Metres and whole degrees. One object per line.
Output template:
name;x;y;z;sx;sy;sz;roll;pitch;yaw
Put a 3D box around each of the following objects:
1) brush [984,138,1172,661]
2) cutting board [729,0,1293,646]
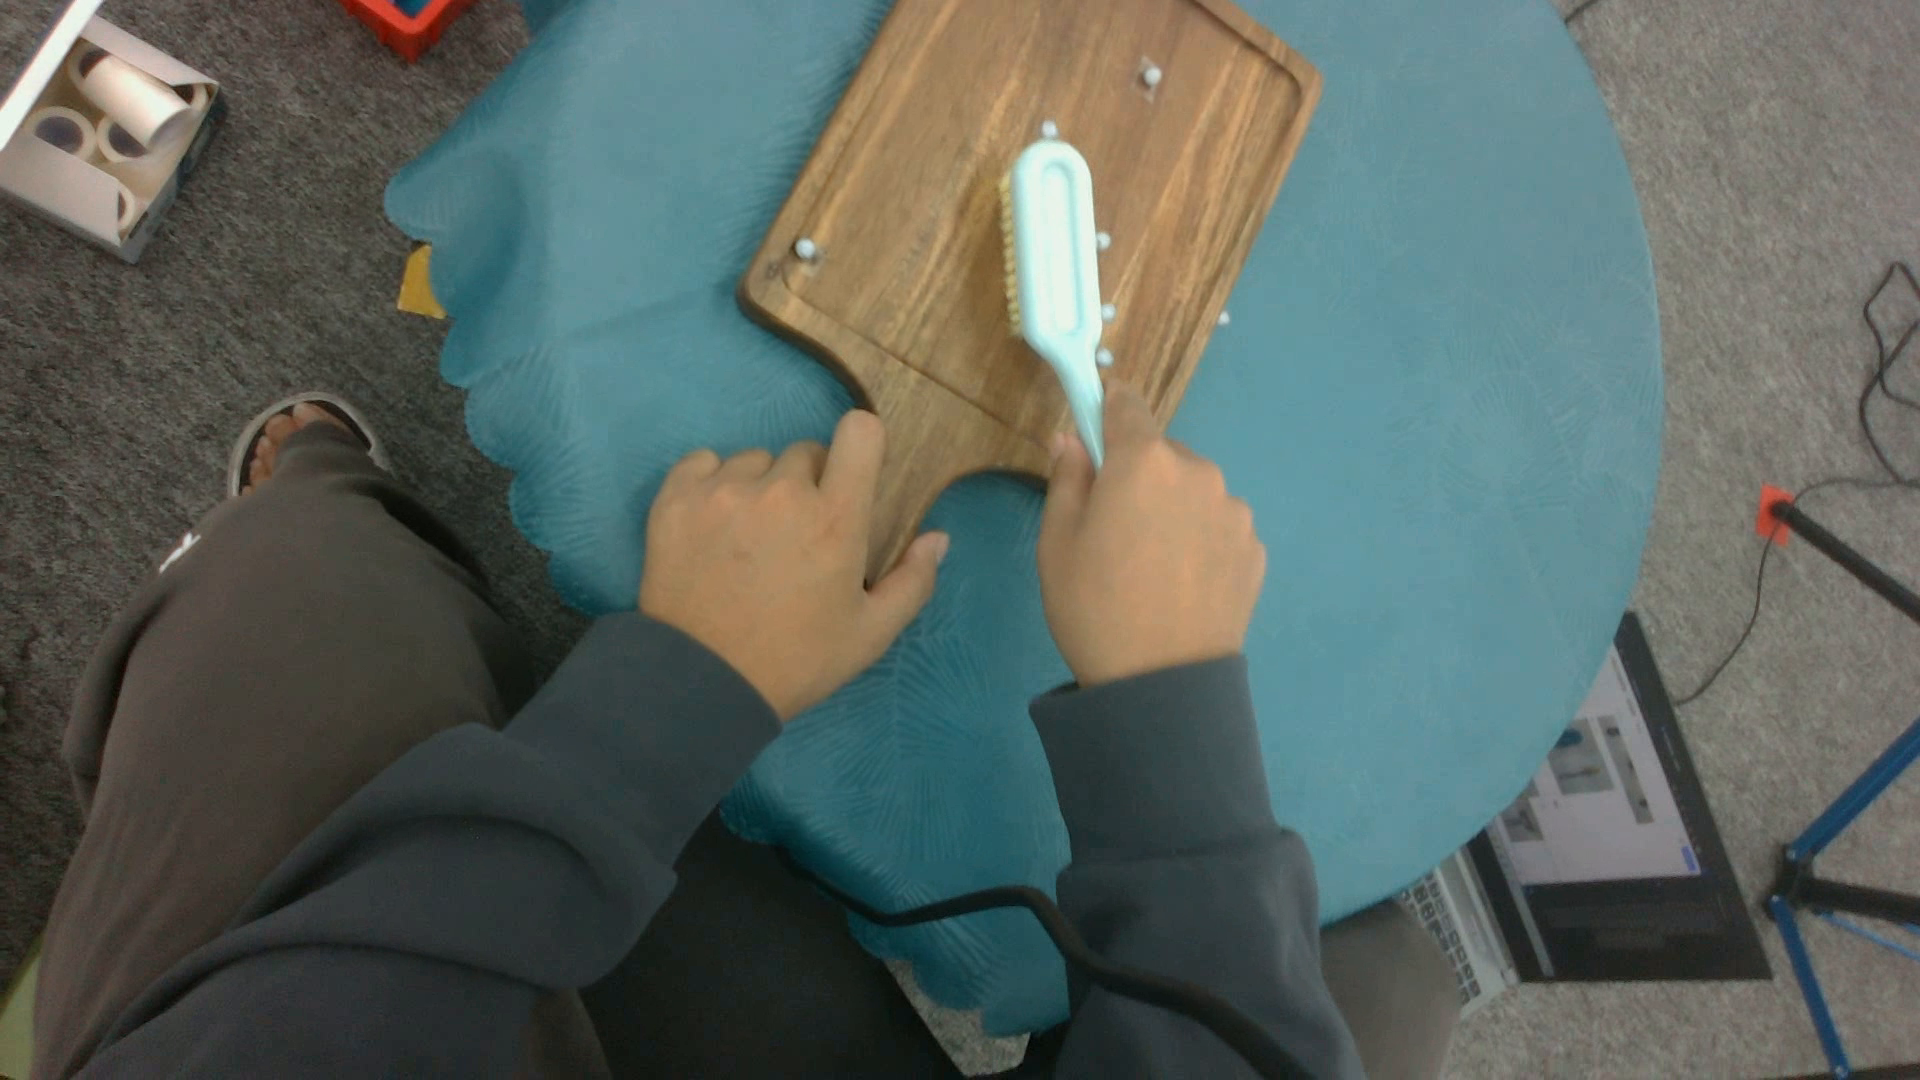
brush;0.050;-0.060;0.580;0.038;0.049;0.229;-9;74;-22
cutting board;0.015;-0.116;0.615;0.201;0.023;0.353;27;76;-17
